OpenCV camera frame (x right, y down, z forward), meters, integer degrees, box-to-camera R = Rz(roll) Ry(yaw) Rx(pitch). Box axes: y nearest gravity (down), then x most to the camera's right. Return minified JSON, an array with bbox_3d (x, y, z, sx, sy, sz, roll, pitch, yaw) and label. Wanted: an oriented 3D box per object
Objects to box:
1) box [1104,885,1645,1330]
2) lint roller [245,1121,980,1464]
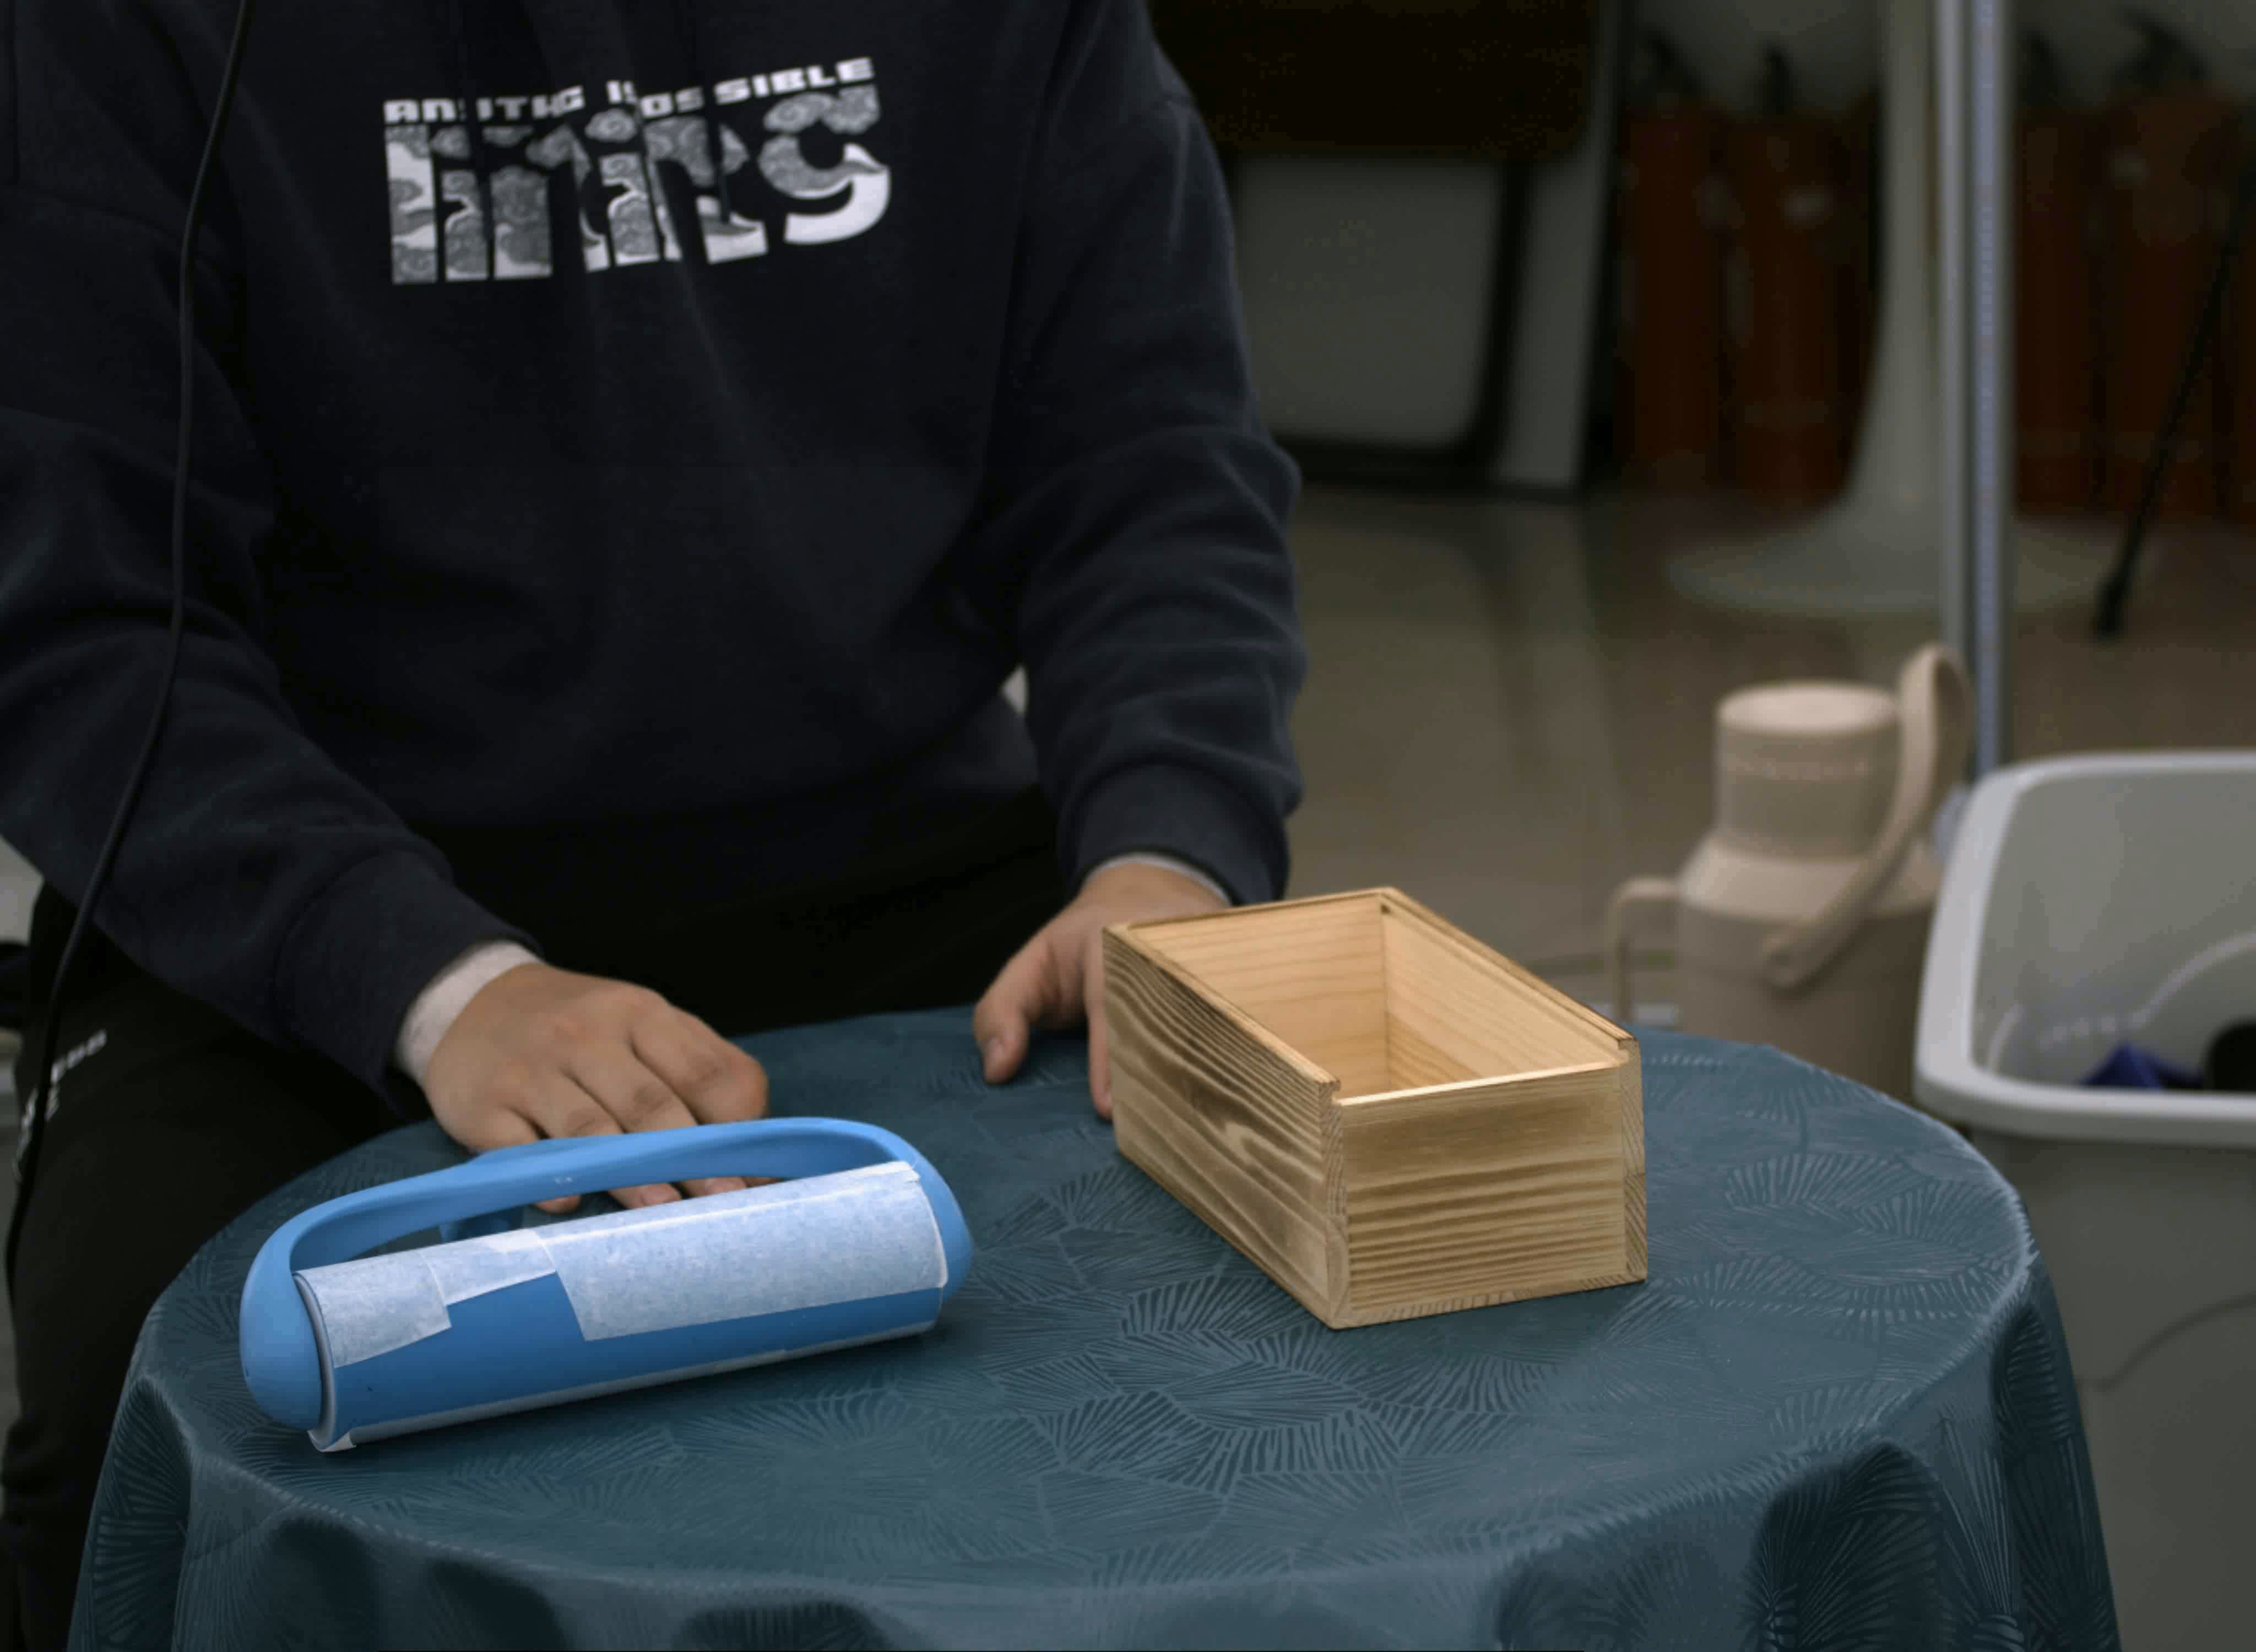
[{"bbox_3d":[0.076,0.086,1.728,0.105,0.081,0.213,-8,14,-17],"label":"box"},{"bbox_3d":[-0.176,0.130,1.663,0.224,0.068,0.182,-12,18,-22],"label":"lint roller"}]
